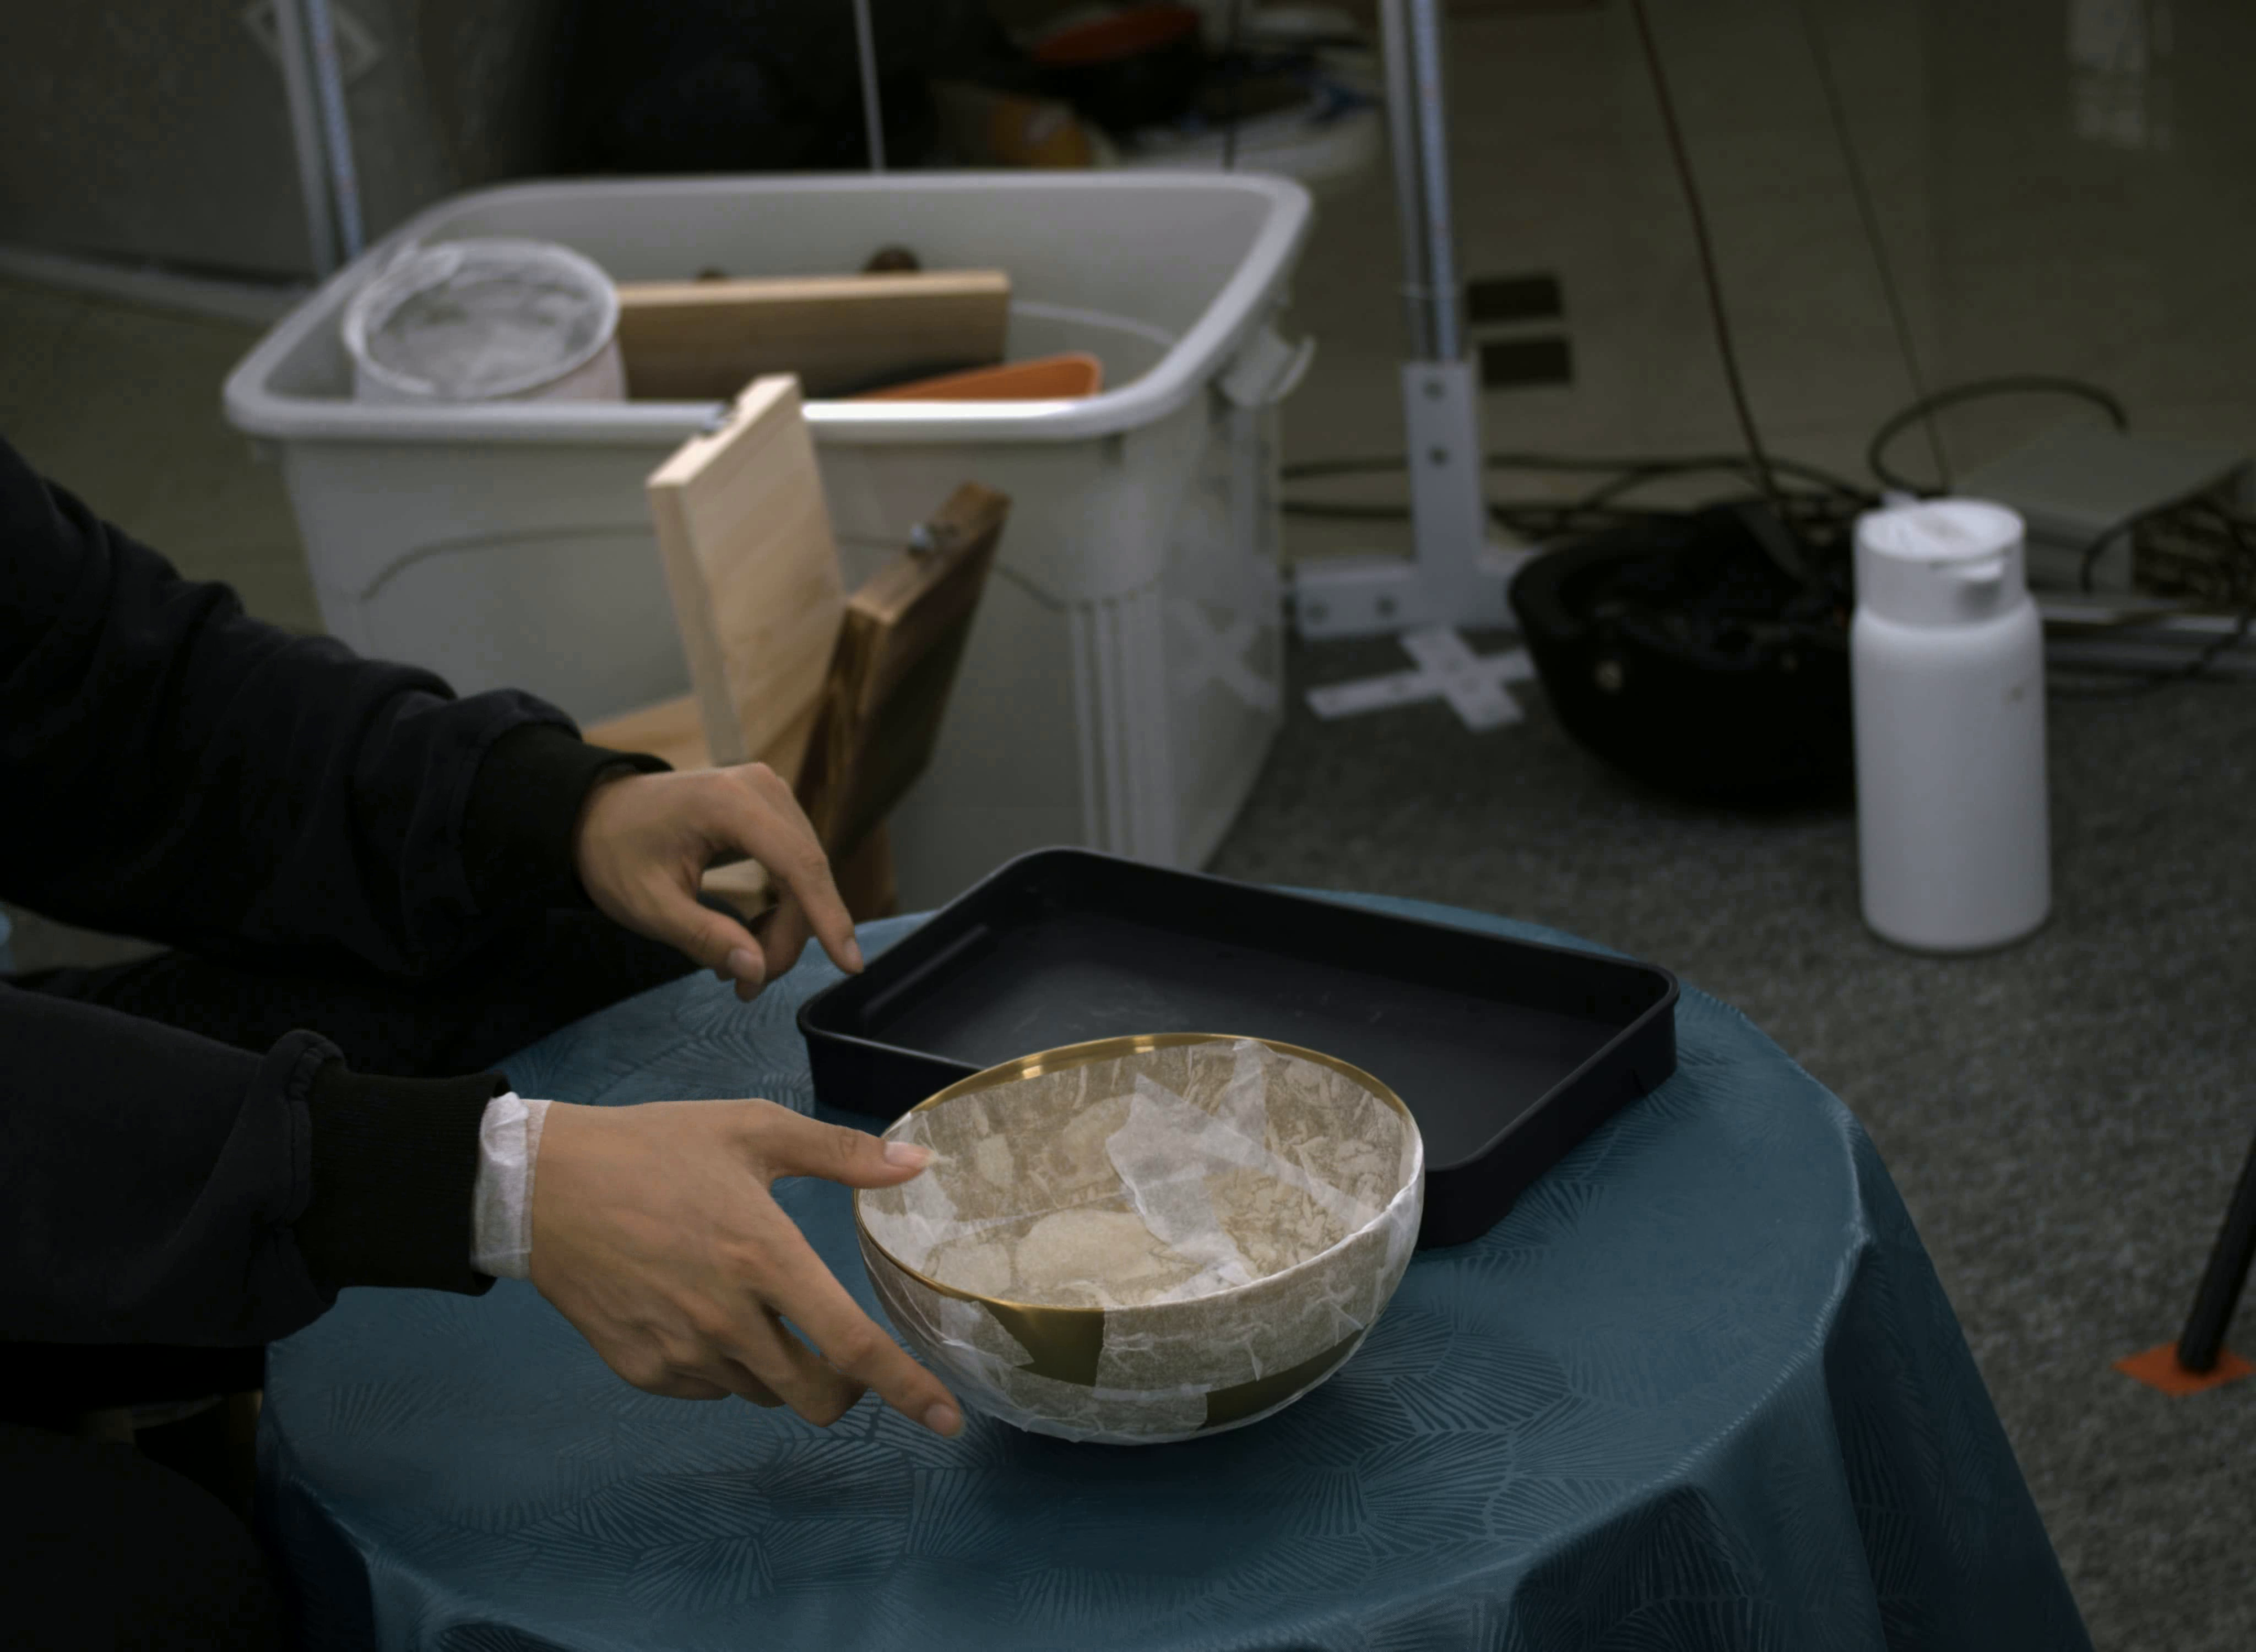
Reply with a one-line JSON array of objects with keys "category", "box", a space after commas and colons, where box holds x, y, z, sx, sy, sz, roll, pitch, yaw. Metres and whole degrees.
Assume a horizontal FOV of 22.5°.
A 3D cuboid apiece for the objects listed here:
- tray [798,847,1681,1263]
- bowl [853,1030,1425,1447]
[{"category": "tray", "box": [0.042, 0.086, 2.220, 0.316, 0.037, 0.182, 14, 31, 34]}, {"category": "bowl", "box": [0.006, 0.156, 2.003, 0.214, 0.096, 0.211, -6, 26, 3]}]
